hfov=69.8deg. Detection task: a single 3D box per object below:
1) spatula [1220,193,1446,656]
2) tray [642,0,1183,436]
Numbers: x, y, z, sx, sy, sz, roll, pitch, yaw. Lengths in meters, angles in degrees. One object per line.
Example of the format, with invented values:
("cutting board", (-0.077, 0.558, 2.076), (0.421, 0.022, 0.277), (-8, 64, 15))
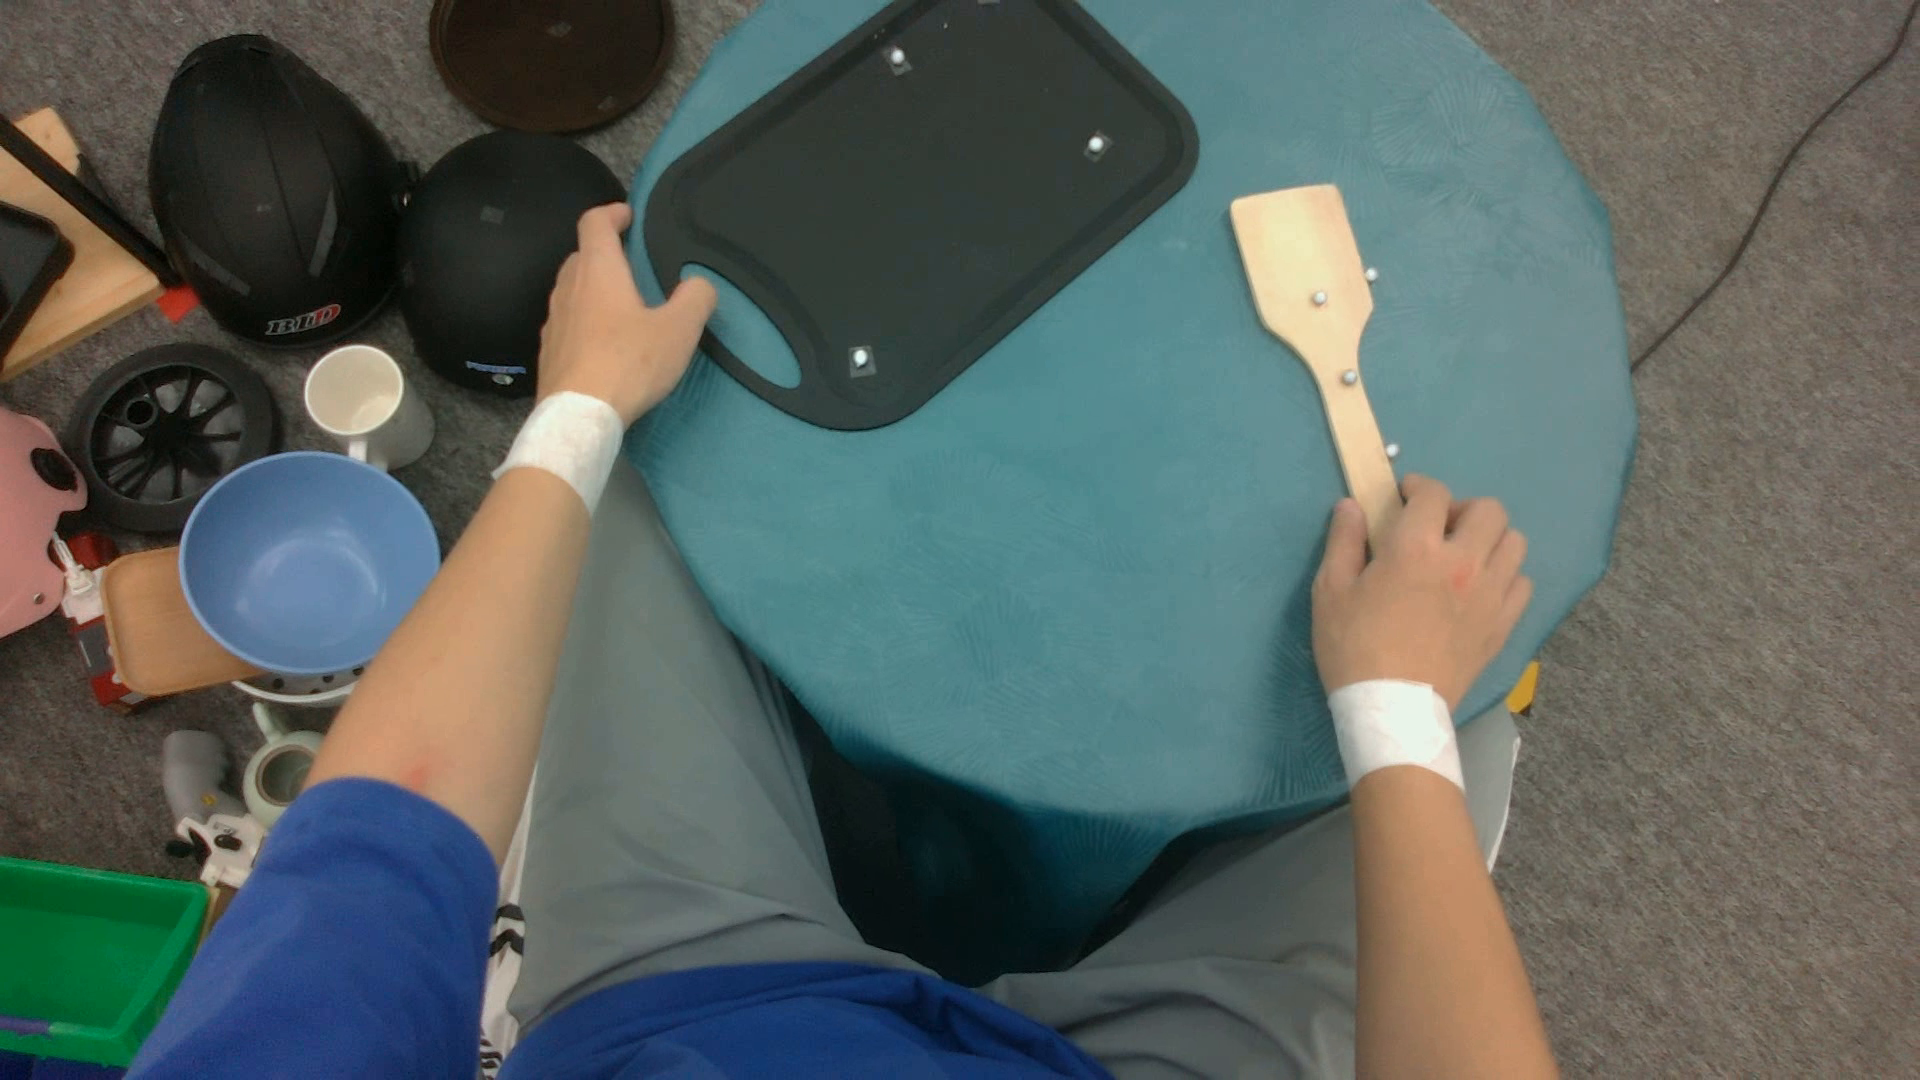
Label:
("spatula", (0.226, -0.072, 0.806), (0.072, 0.010, 0.293), (-12, 73, -9))
("tray", (-0.030, -0.208, 0.832), (0.326, 0.010, 0.211), (-41, 79, -15))
